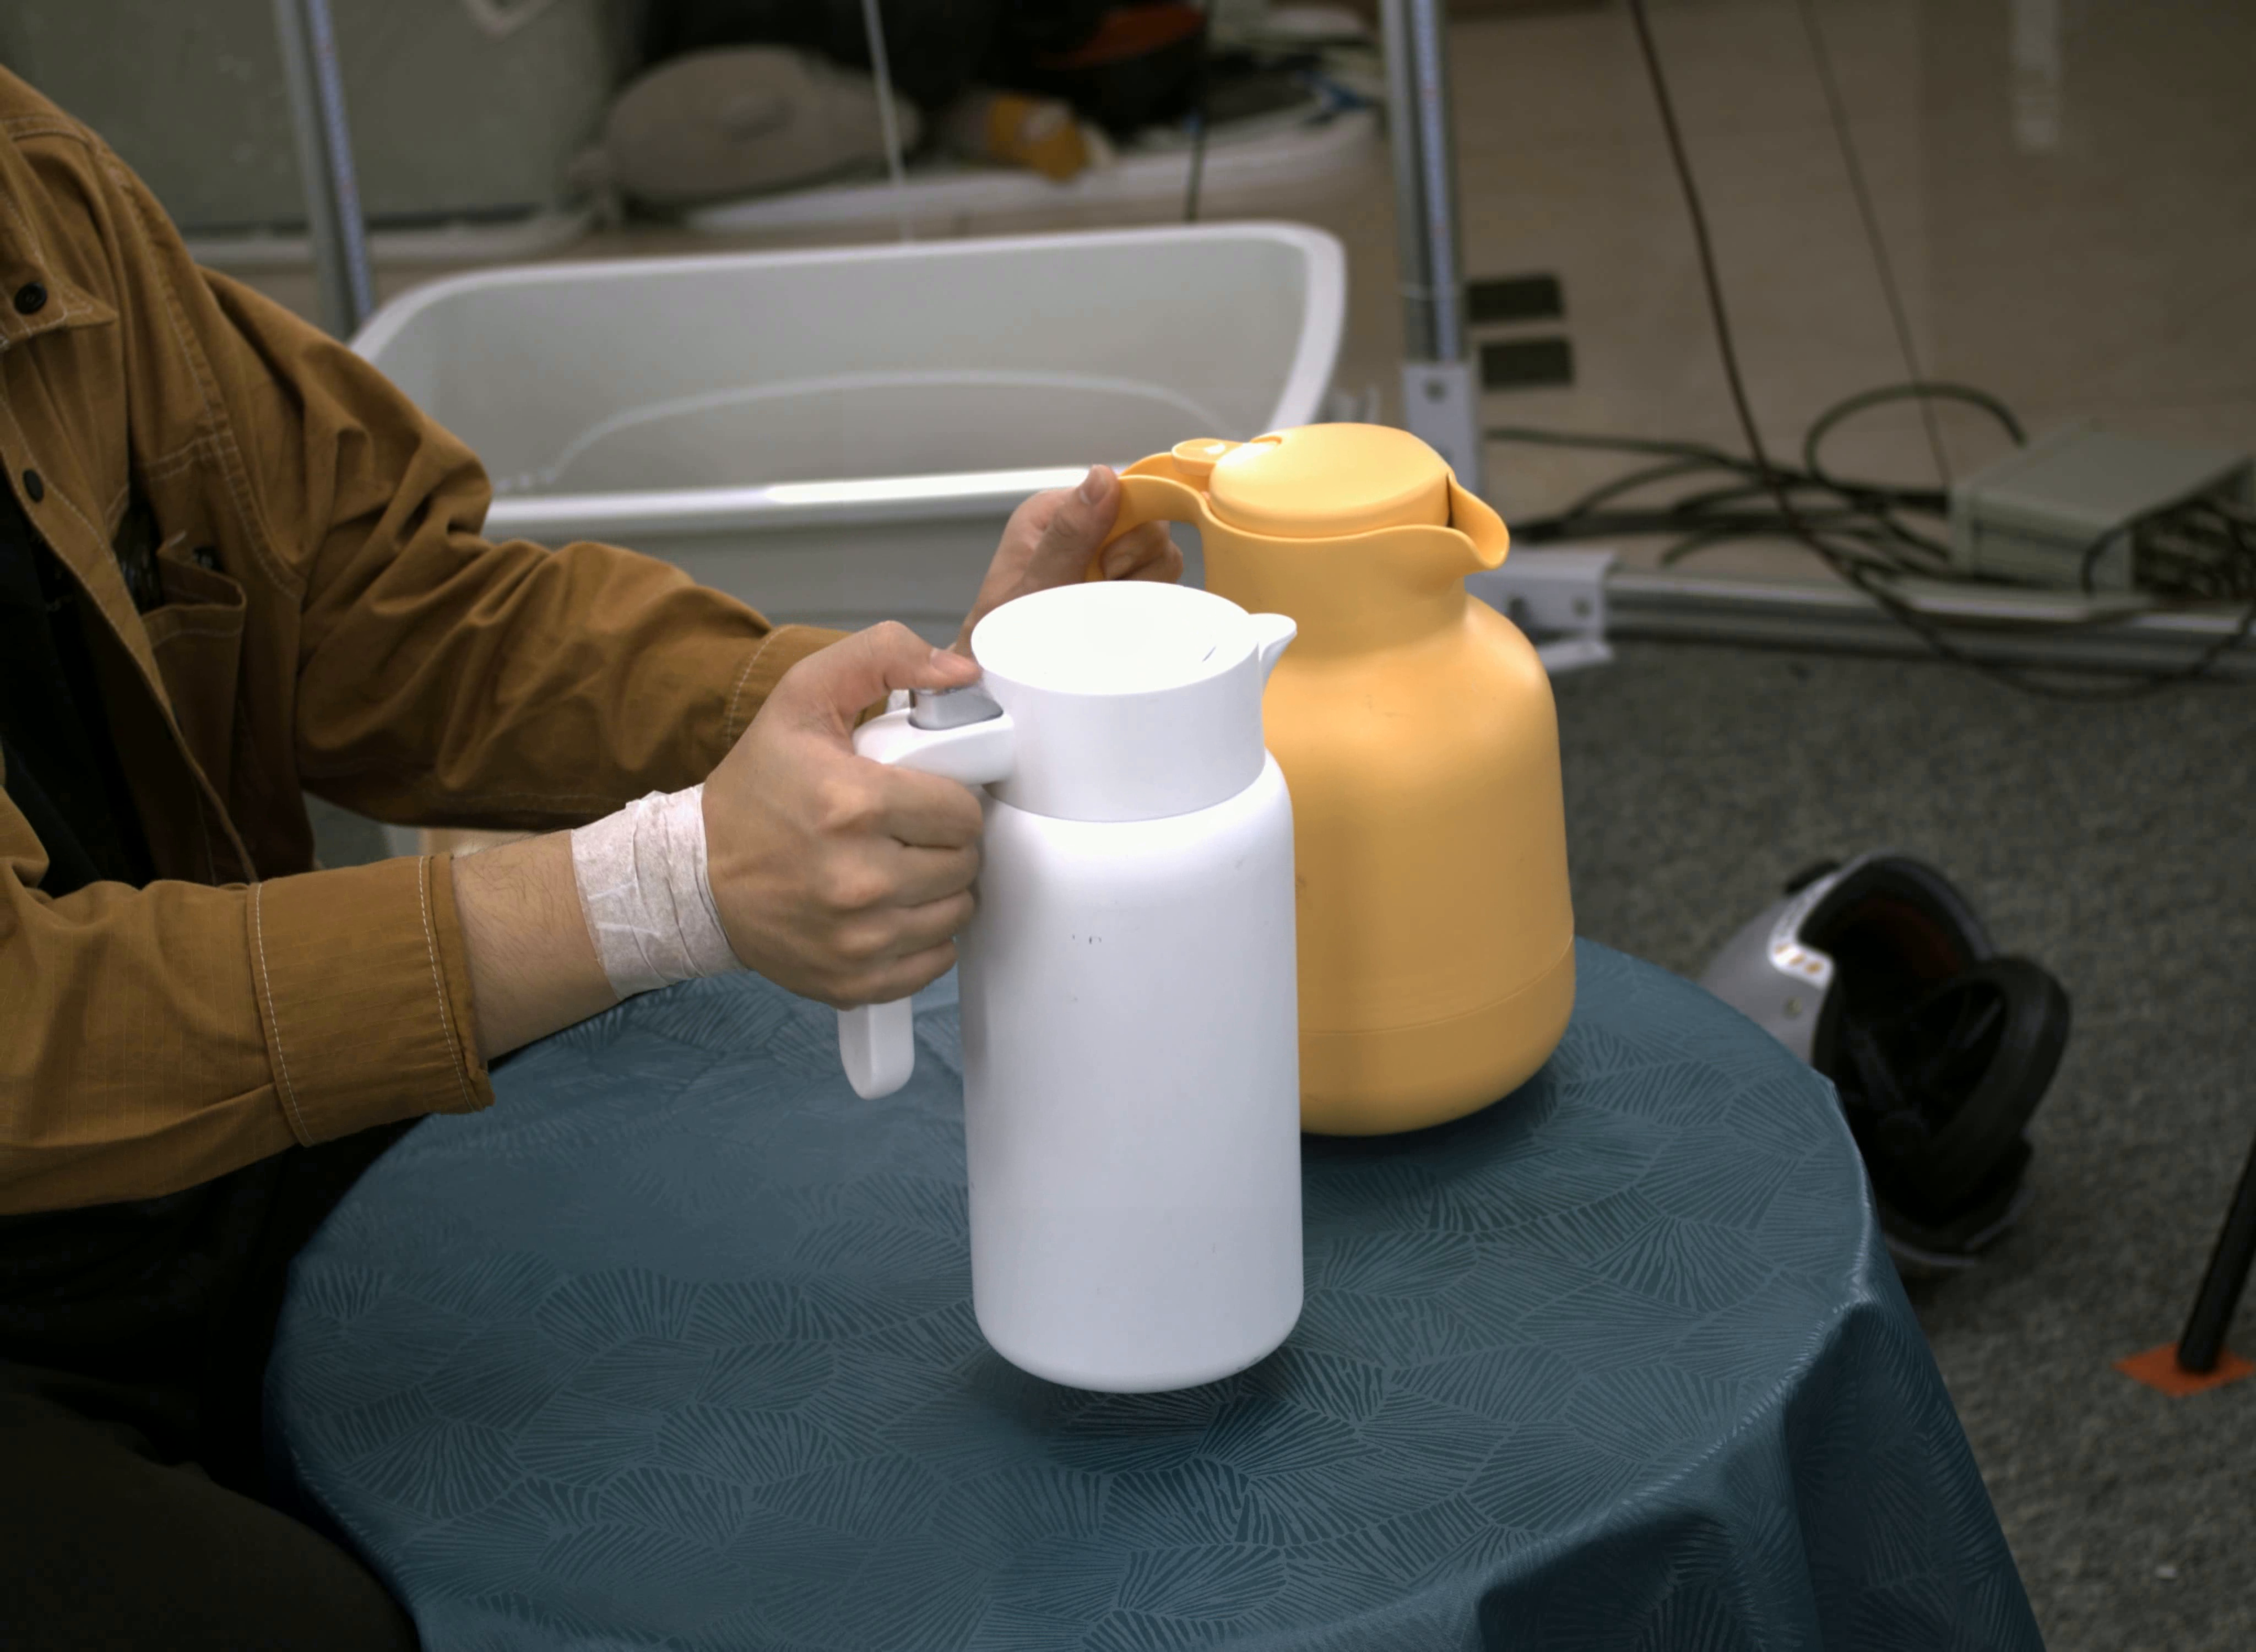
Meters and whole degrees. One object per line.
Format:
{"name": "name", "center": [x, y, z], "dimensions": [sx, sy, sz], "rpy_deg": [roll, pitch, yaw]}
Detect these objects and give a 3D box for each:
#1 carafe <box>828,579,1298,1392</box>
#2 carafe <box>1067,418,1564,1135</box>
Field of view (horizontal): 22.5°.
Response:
{"name": "carafe", "center": [-0.016, 0.059, 1.948], "dimensions": [0.172, 0.273, 0.122], "rpy_deg": [-14, 30, -24]}
{"name": "carafe", "center": [0.068, -0.028, 2.157], "dimensions": [0.201, 0.265, 0.162], "rpy_deg": [17, 32, 34]}
